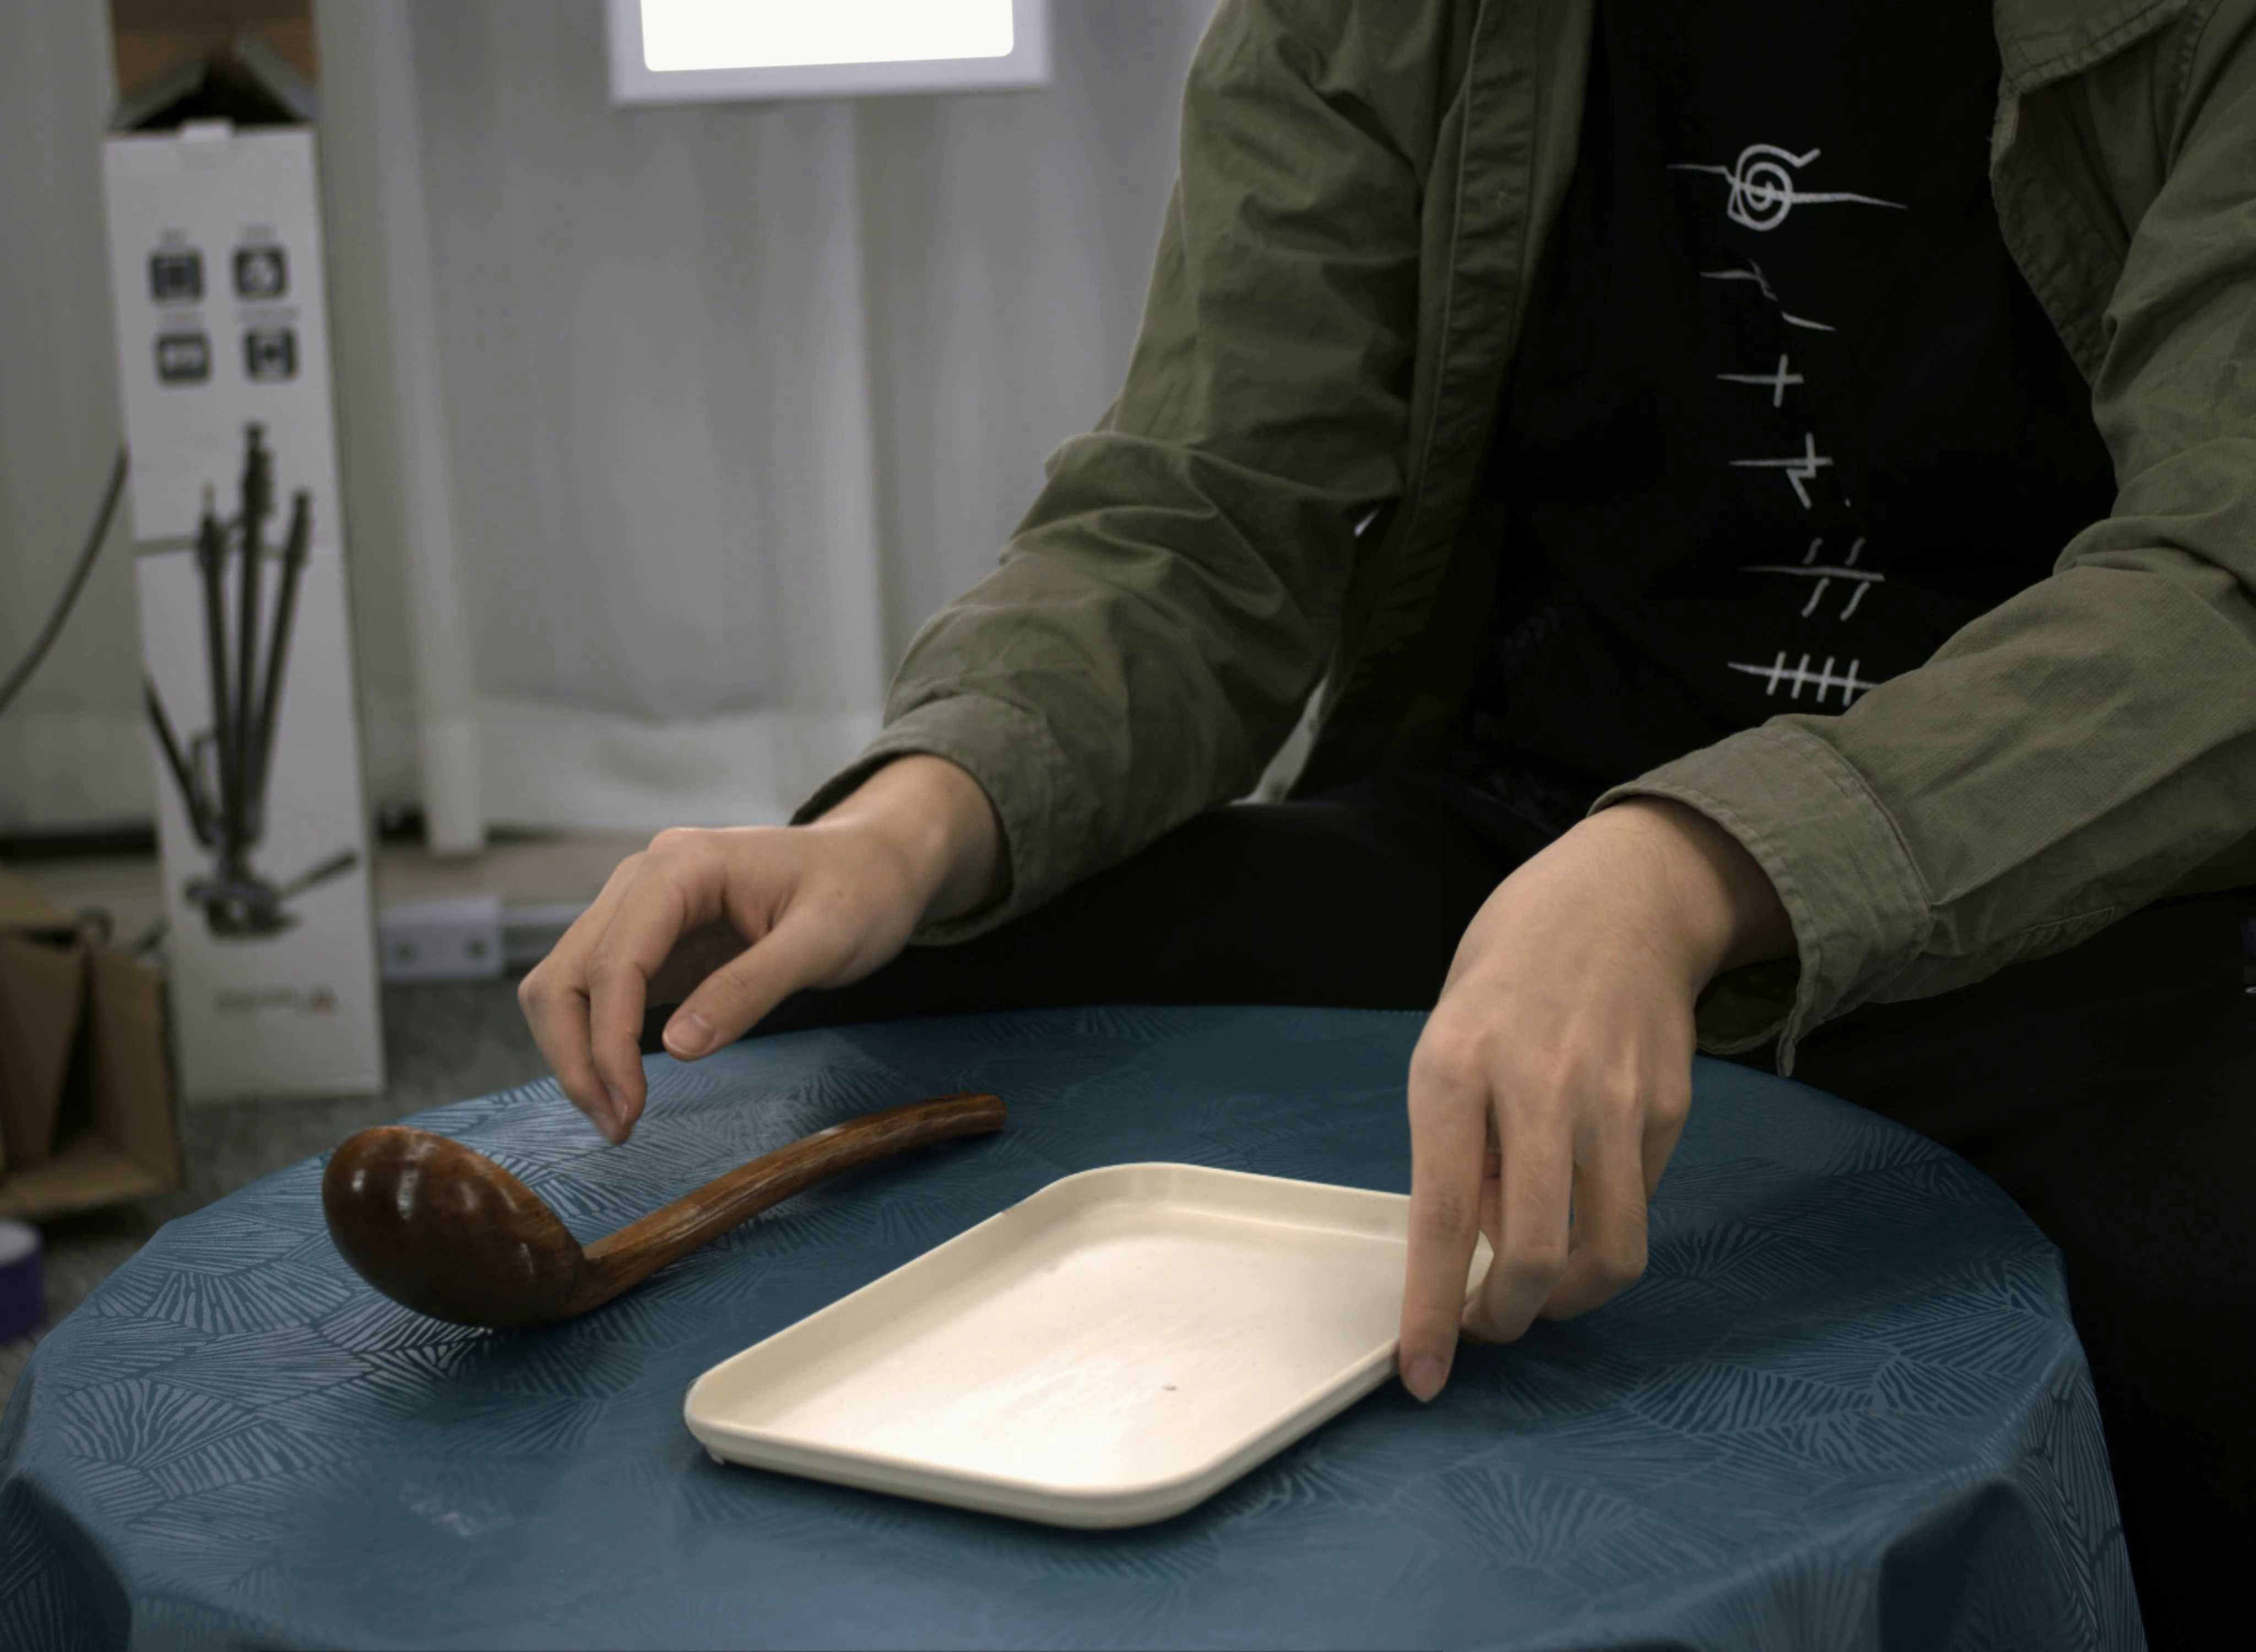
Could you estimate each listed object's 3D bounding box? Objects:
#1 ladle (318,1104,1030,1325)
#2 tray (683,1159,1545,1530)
[{"bbox_3d":[-0.133,0.094,1.677,0.082,0.076,0.274,3,15,40],"label":"ladle"},{"bbox_3d":[0.000,0.146,1.559,0.172,0.017,0.240,6,18,33],"label":"tray"}]
